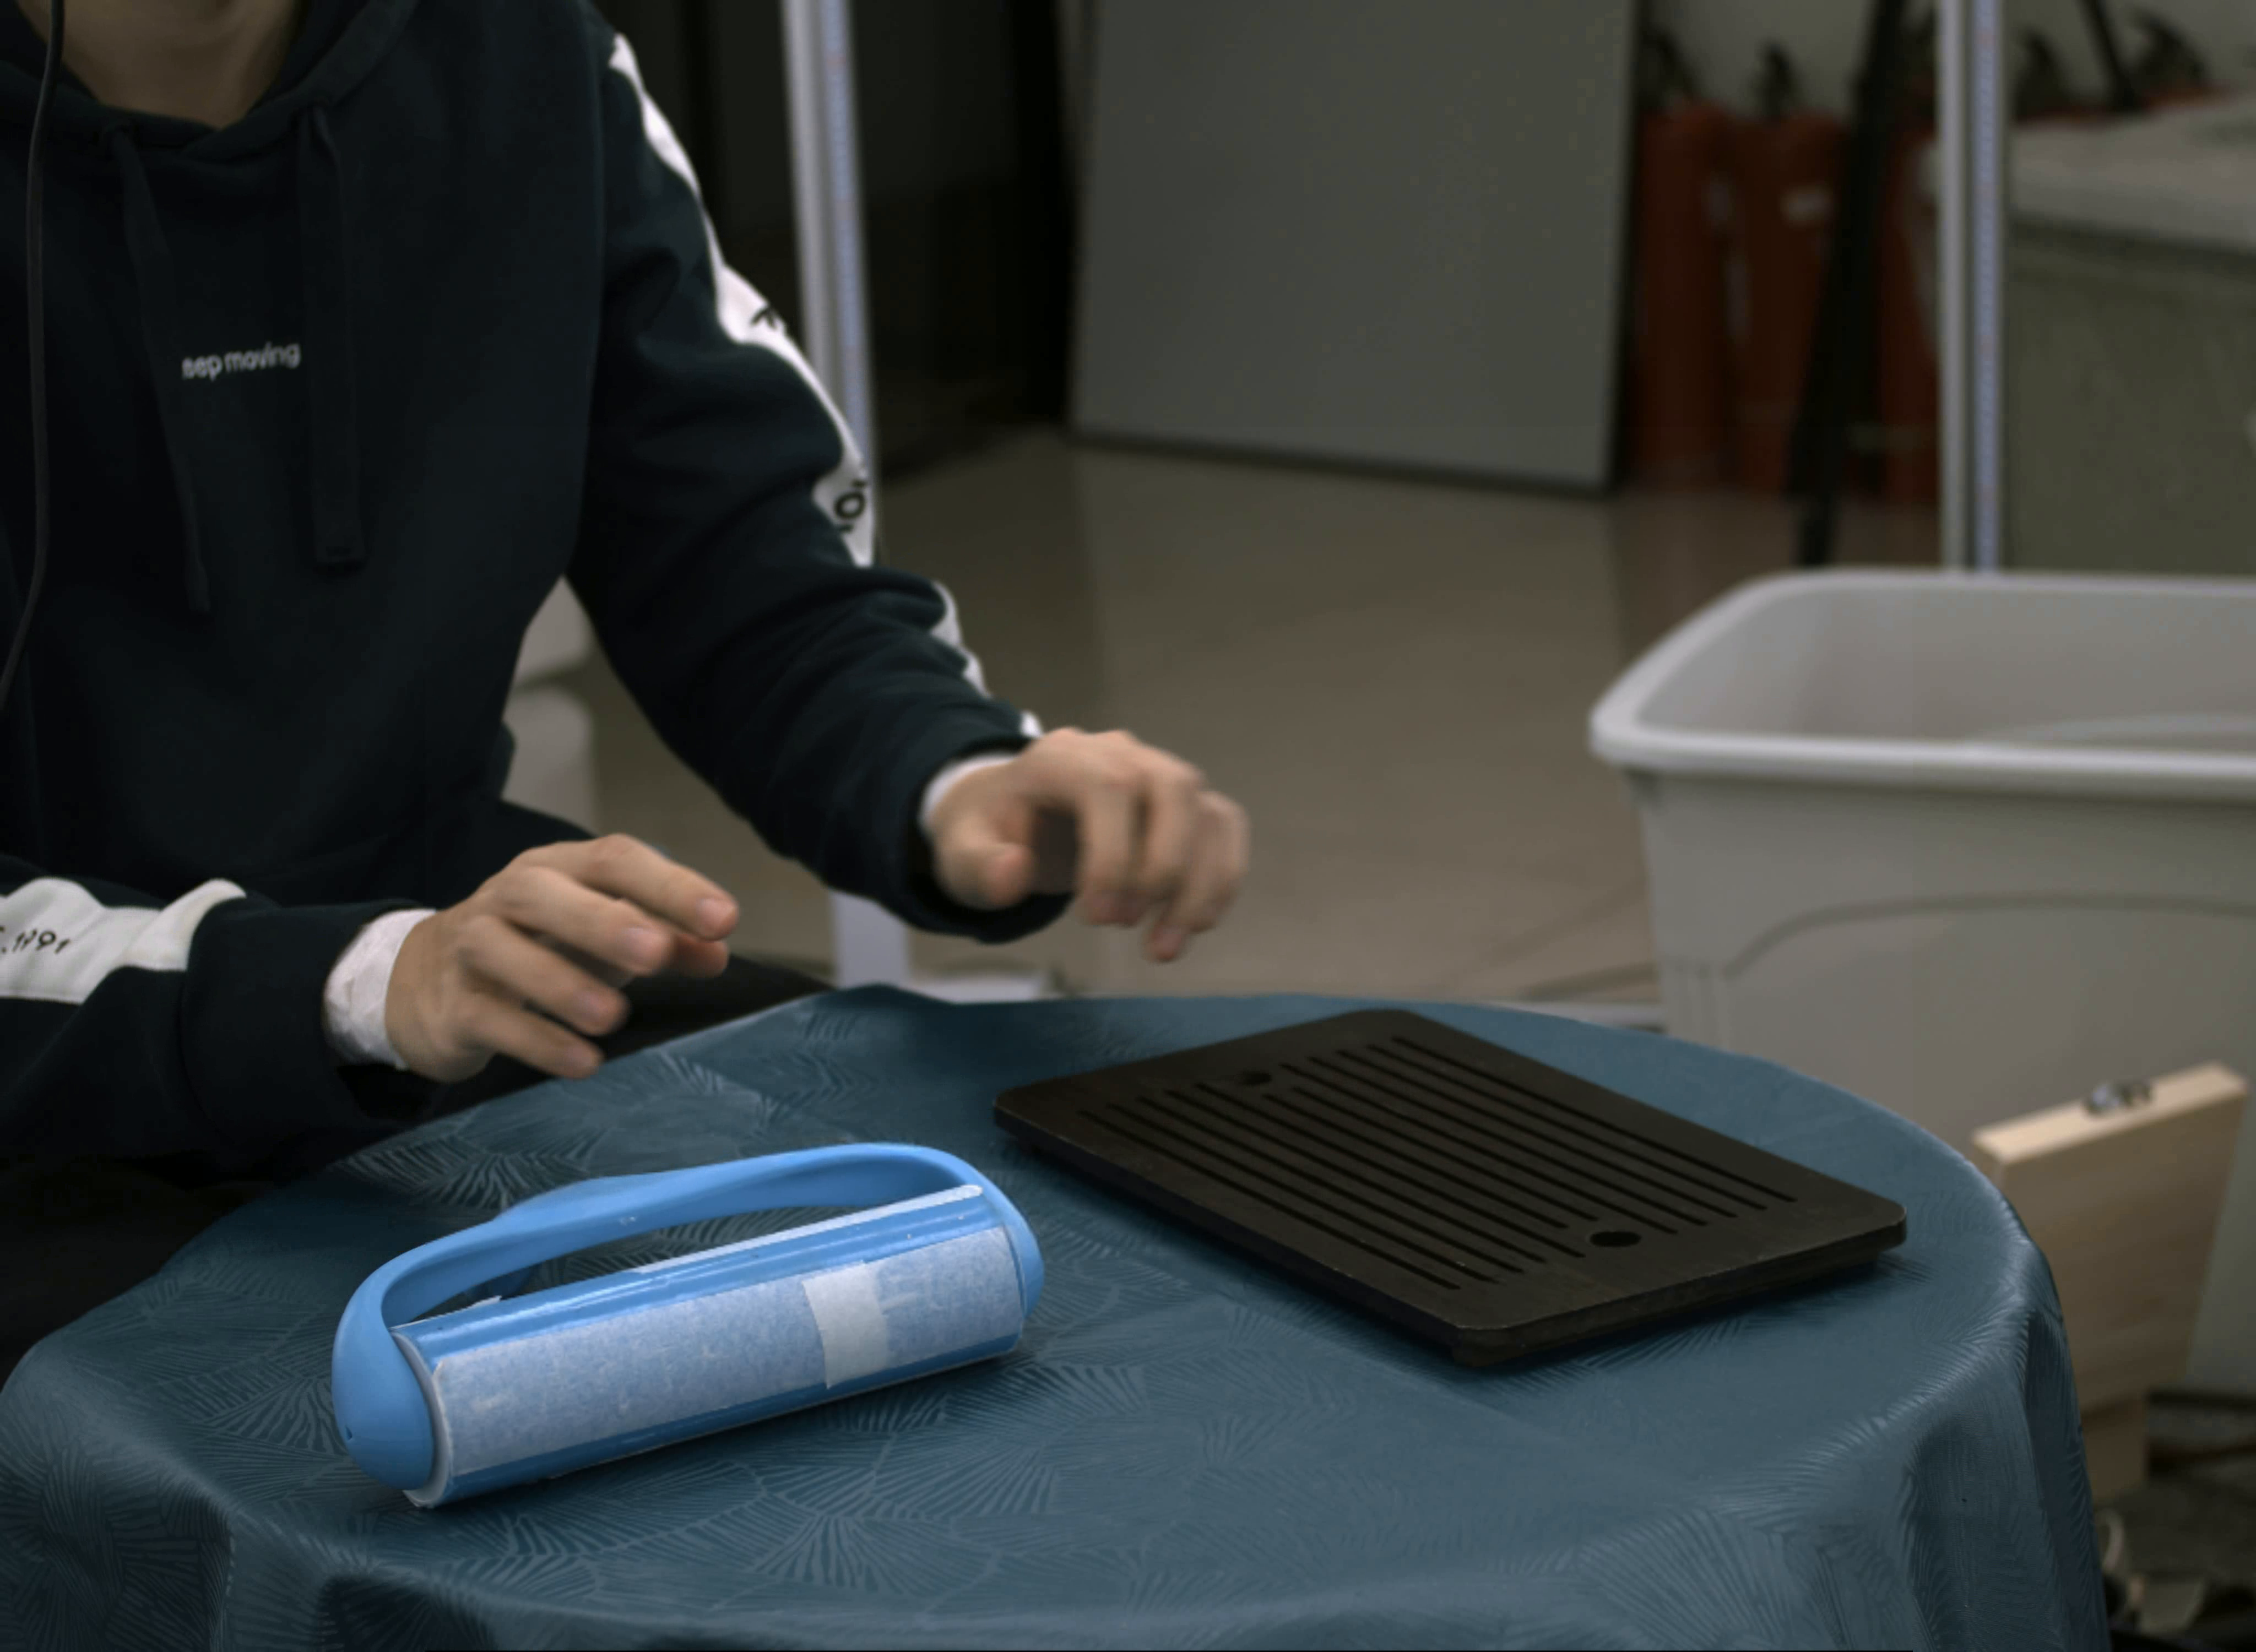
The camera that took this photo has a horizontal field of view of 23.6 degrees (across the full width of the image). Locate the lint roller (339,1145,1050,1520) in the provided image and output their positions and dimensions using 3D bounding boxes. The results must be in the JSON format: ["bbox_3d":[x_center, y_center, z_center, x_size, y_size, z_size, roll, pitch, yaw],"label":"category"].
[{"bbox_3d":[-0.155,0.139,1.622,0.224,0.068,0.182,-15,19,-31],"label":"lint roller"}]

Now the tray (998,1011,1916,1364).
[{"bbox_3d":[0.099,0.113,1.737,0.166,0.019,0.309,-12,16,-28],"label":"tray"}]
